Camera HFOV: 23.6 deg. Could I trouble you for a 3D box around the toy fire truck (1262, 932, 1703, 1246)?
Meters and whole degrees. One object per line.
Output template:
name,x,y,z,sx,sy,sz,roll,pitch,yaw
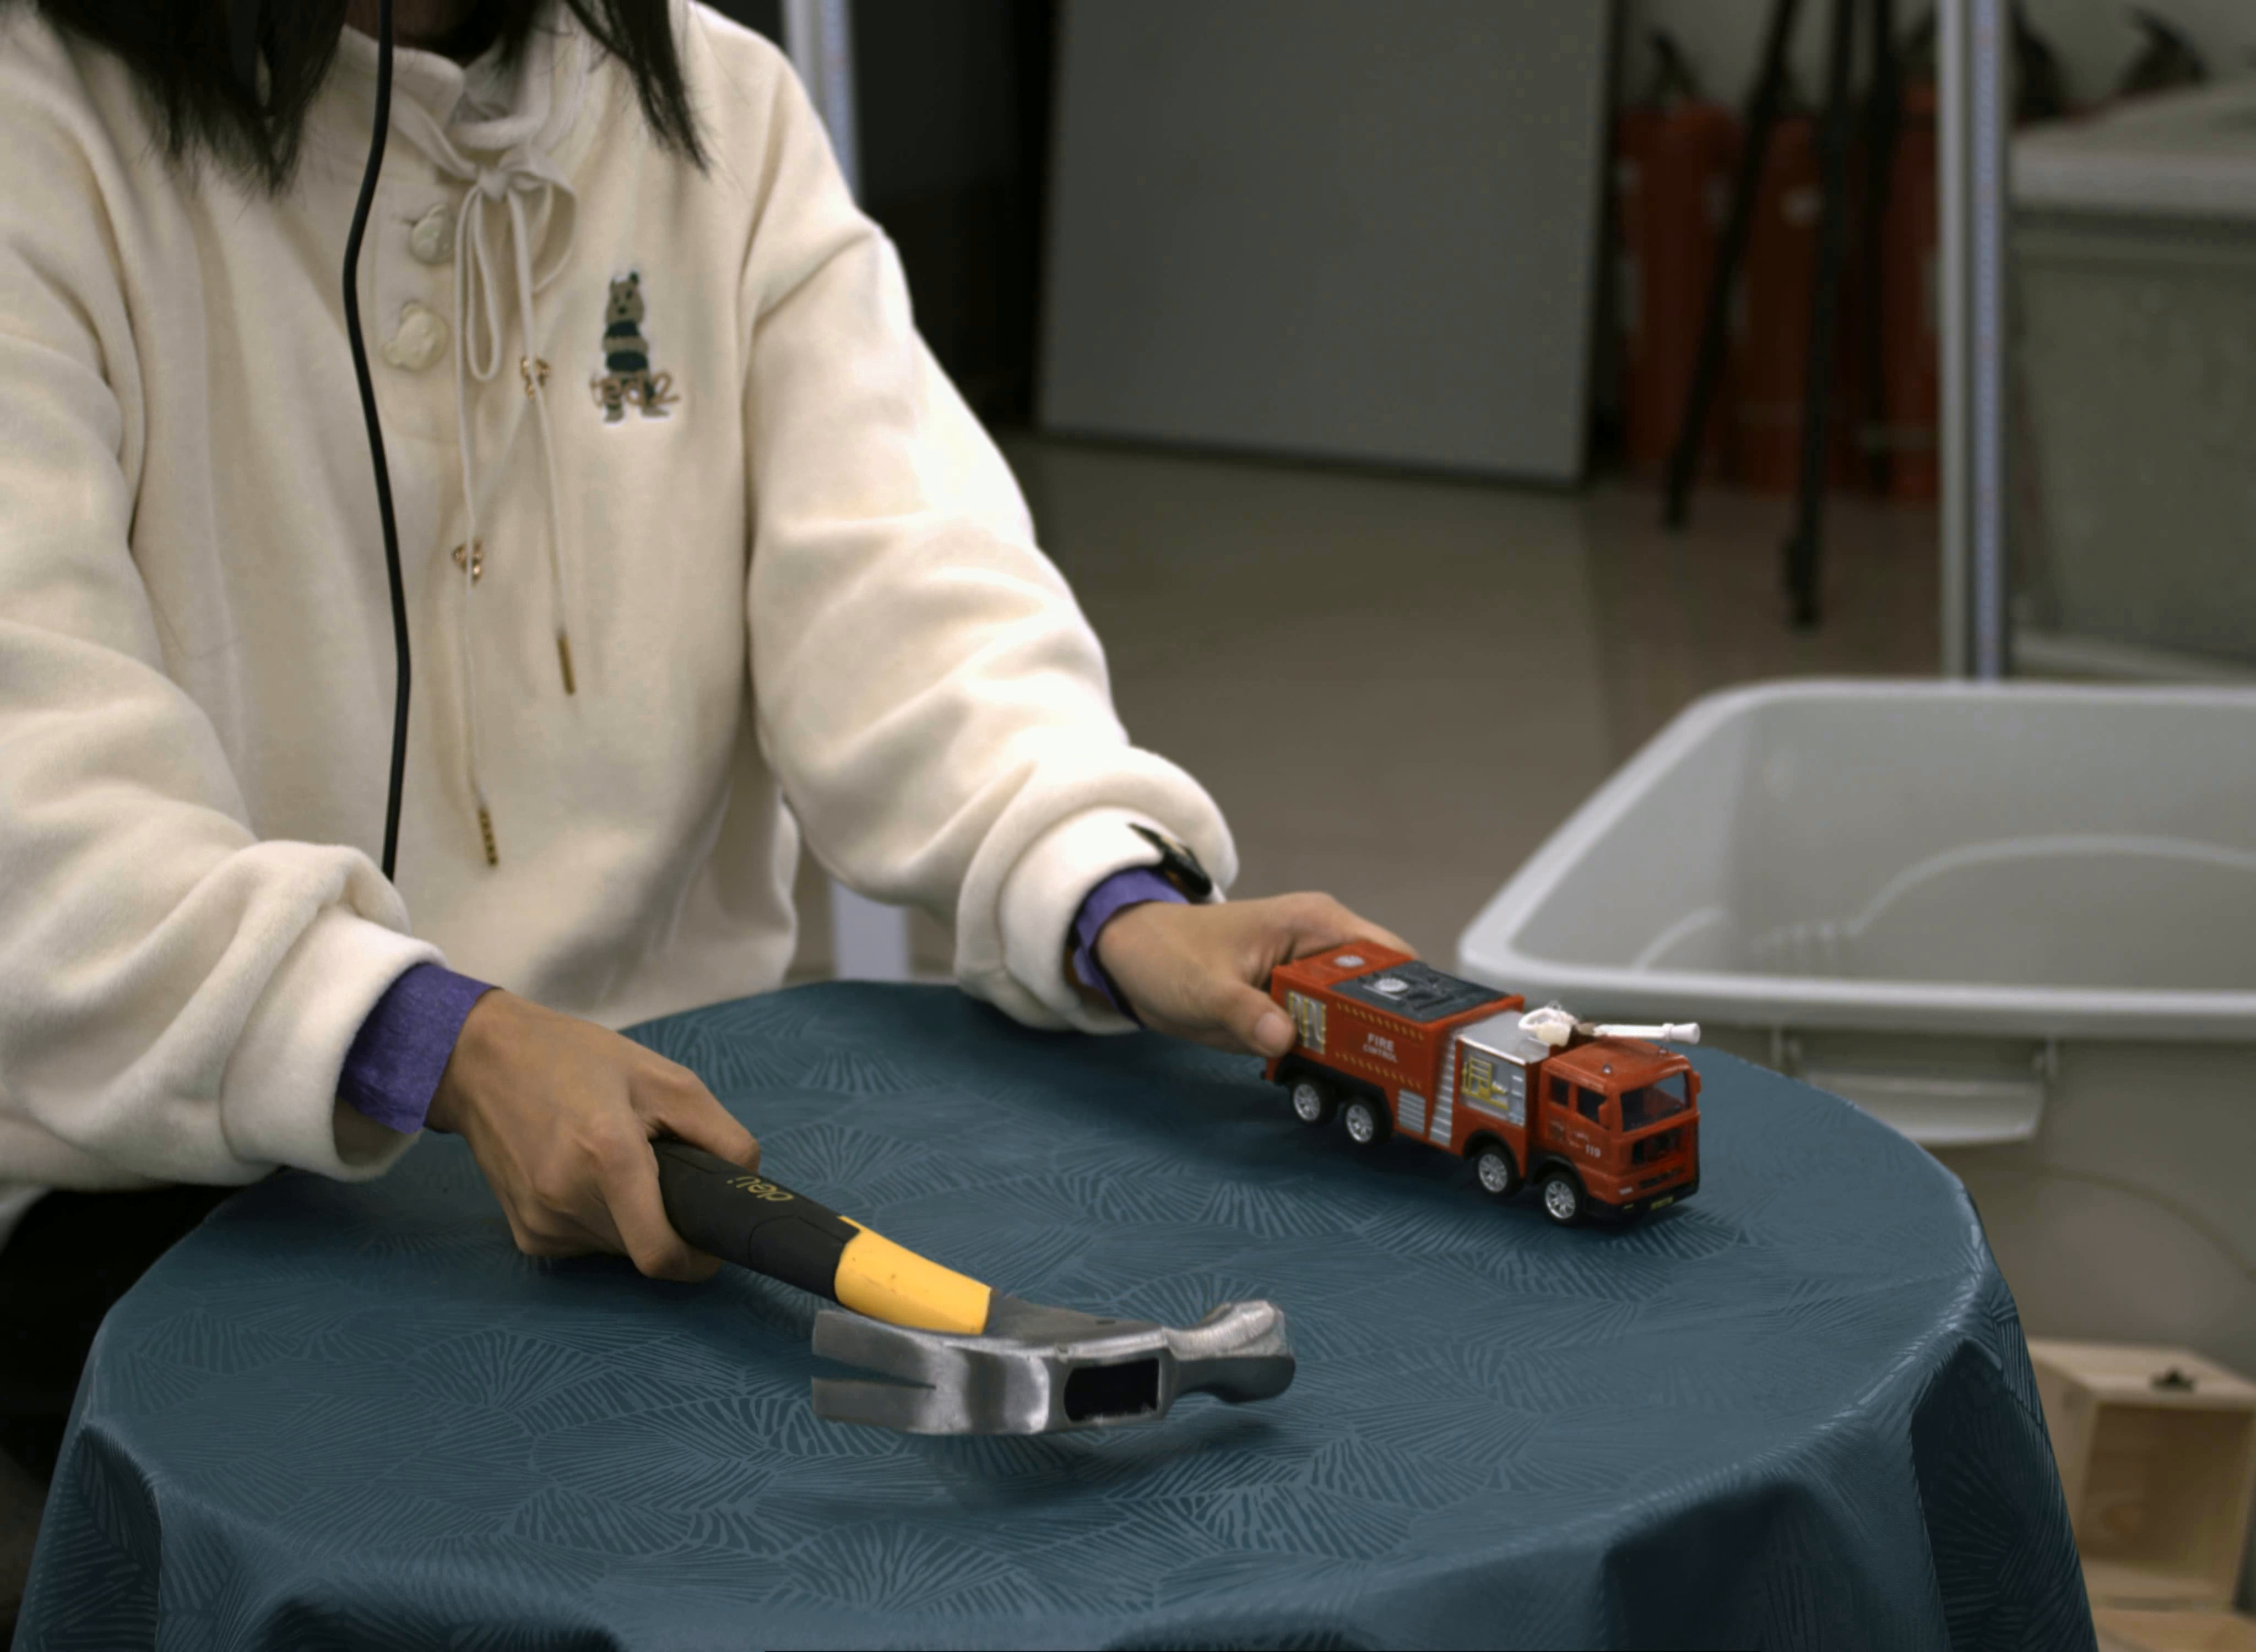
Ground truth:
toy fire truck,0.116,0.082,1.749,0.053,0.071,0.169,-14,21,-40

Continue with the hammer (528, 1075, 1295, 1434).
hammer,-0.094,0.124,1.644,0.128,0.032,0.342,-6,14,-31
